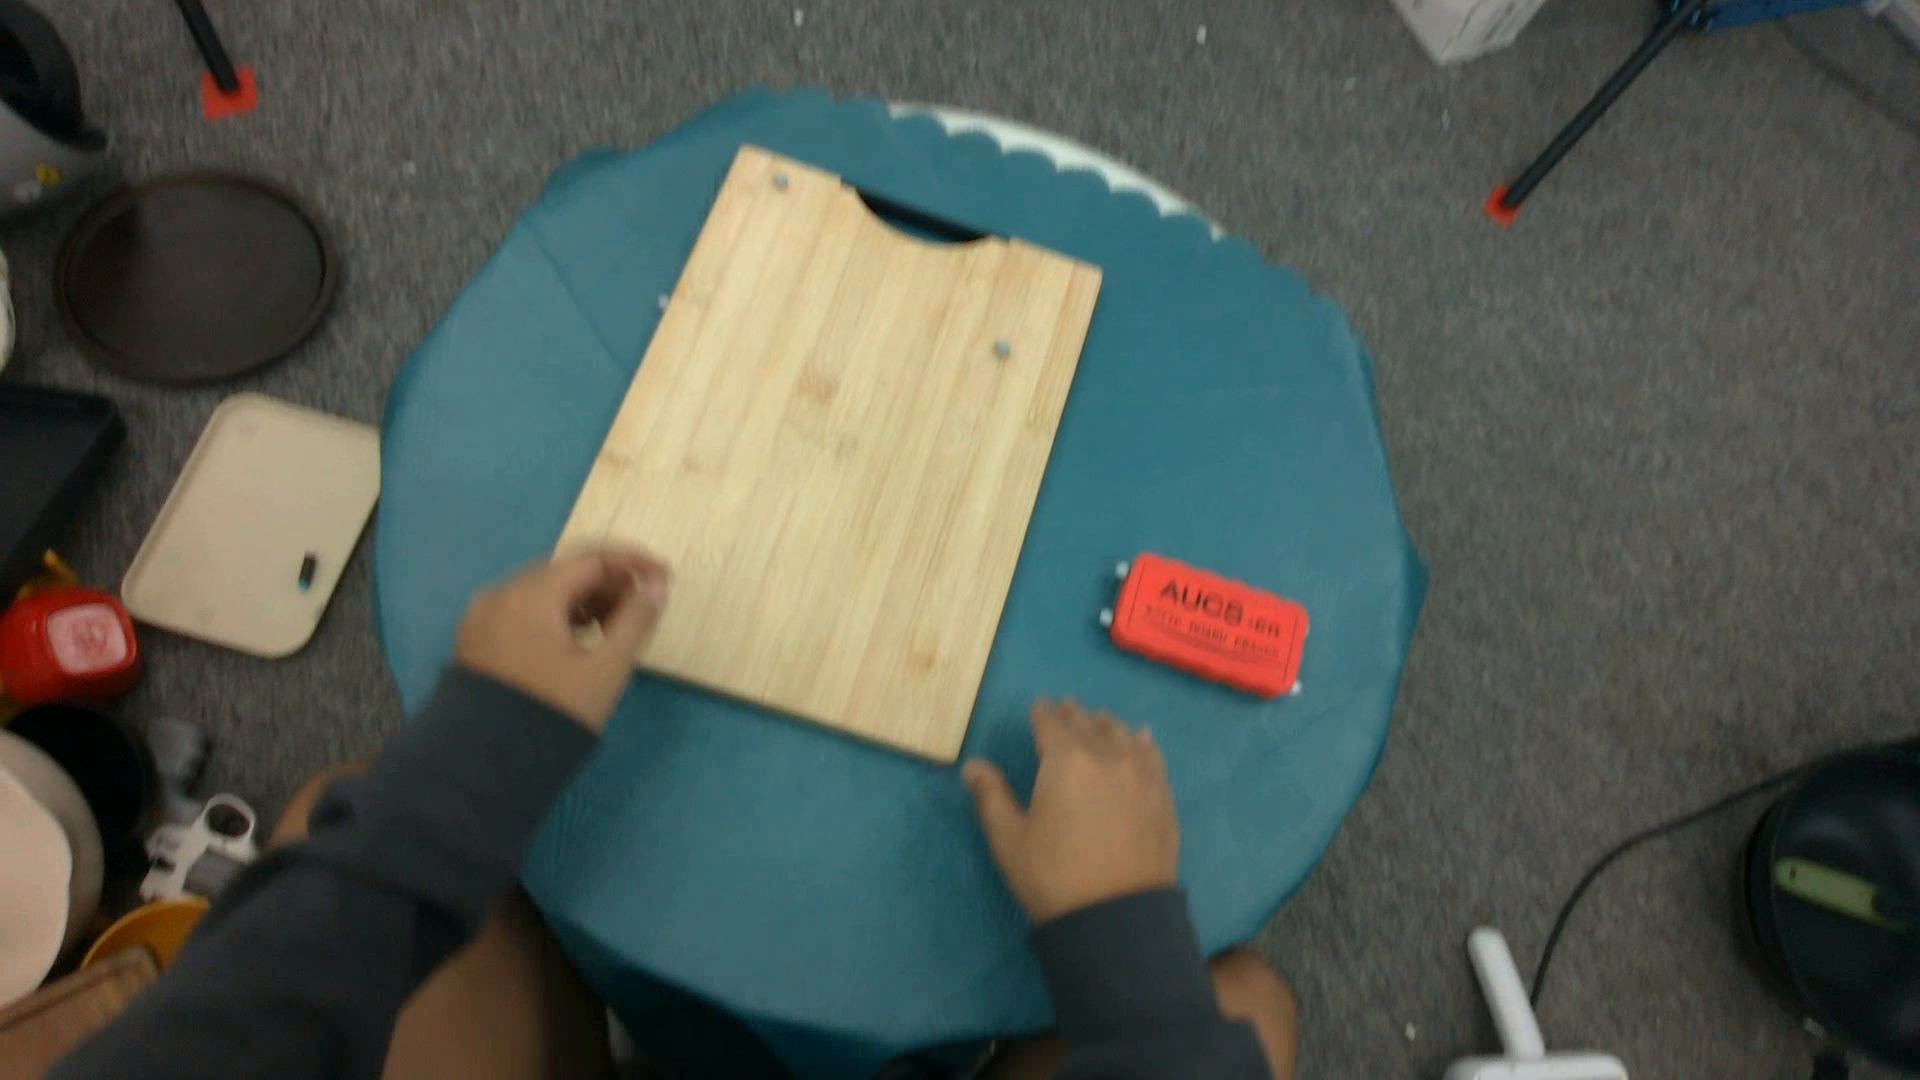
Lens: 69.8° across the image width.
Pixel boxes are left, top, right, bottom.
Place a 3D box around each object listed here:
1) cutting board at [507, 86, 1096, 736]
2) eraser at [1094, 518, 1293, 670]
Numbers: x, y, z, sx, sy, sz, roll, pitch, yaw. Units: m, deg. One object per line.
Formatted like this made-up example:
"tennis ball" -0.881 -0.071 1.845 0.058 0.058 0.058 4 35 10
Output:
"cutting board" -0.077 -0.085 0.794 0.251 0.023 0.350 18 68 -5
"eraser" 0.134 0.031 0.792 0.108 0.023 0.059 20 68 -4
